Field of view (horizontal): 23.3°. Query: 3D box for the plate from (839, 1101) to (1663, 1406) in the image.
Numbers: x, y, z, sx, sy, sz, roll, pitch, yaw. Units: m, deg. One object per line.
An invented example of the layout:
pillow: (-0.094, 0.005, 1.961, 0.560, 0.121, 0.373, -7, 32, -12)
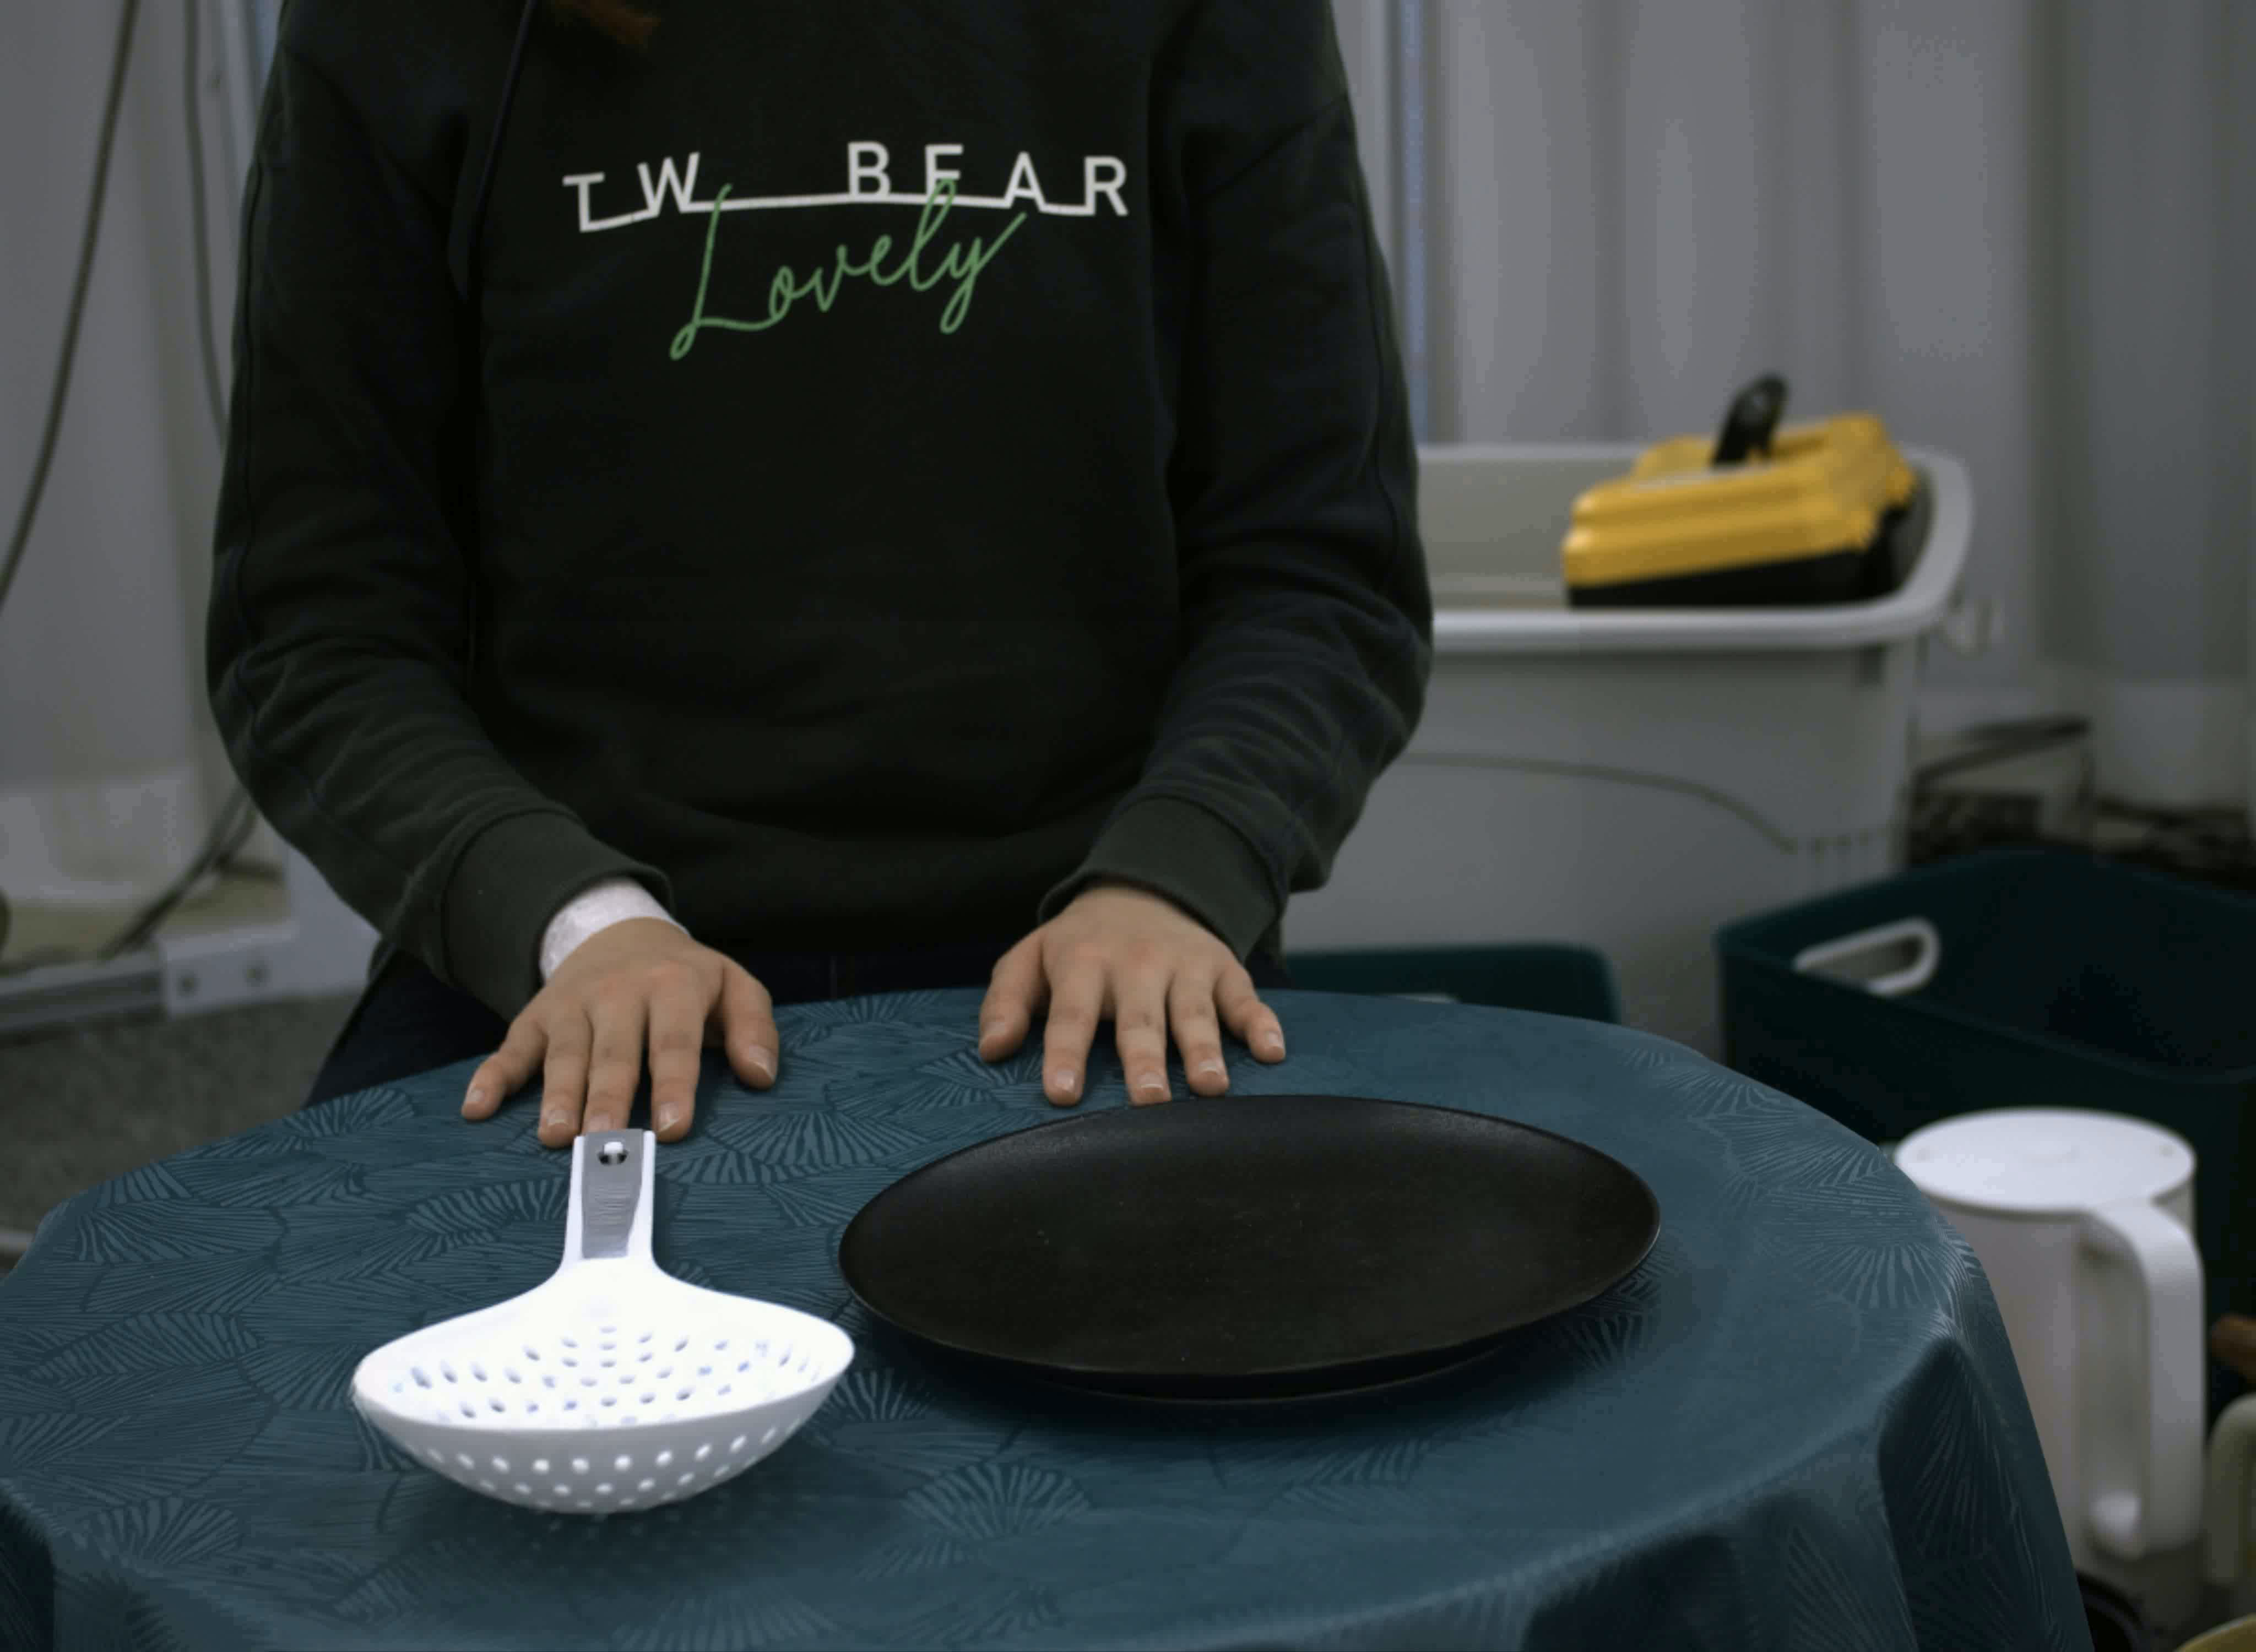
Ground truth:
plate: (0.036, 0.128, 1.614, 0.243, 0.023, 0.246, -3, 15, 0)

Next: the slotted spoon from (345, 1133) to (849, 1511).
slotted spoon: (-0.151, 0.134, 1.583, 0.135, 0.045, 0.352, -2, 14, -4)
